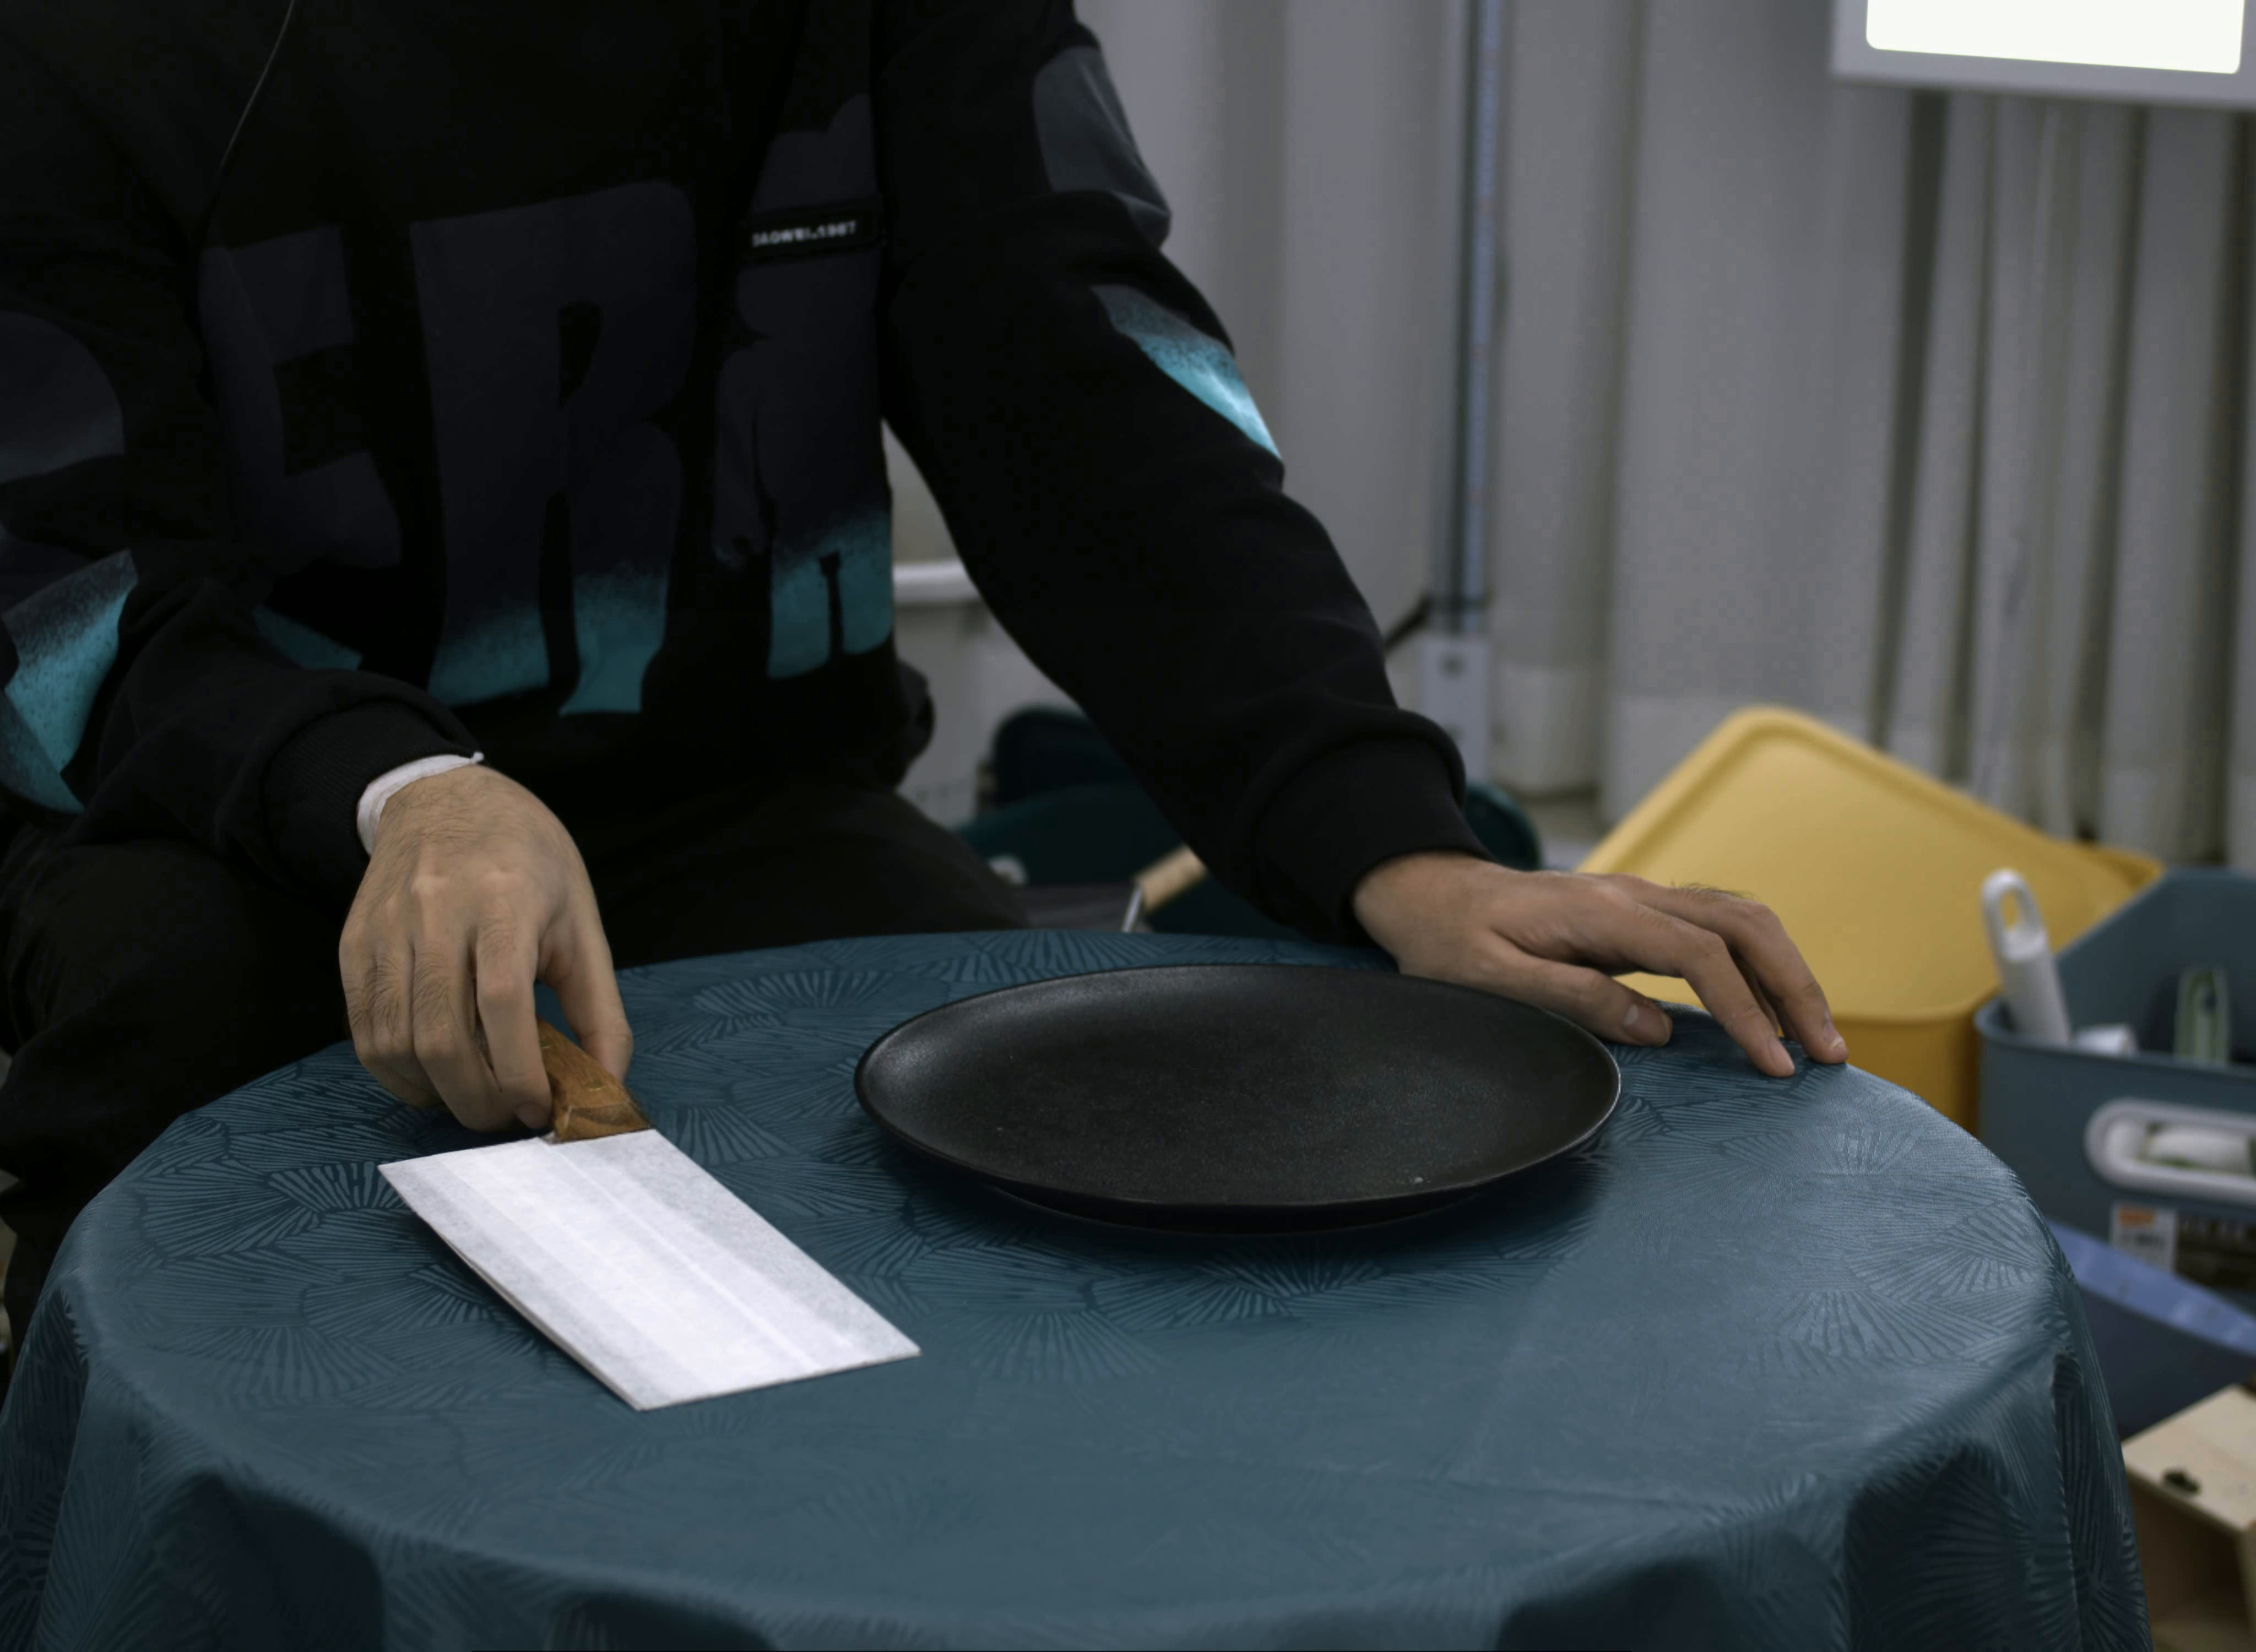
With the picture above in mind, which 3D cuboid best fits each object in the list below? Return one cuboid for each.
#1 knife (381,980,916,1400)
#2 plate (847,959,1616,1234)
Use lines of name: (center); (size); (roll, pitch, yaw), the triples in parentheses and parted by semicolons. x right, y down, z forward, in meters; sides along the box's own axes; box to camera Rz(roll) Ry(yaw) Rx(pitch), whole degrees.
knife: (-0.170, 0.108, 1.587); (0.093, 0.021, 0.301); (-9, 22, -29)
plate: (0.033, 0.088, 1.666); (0.243, 0.023, 0.243); (1, 16, 0)
